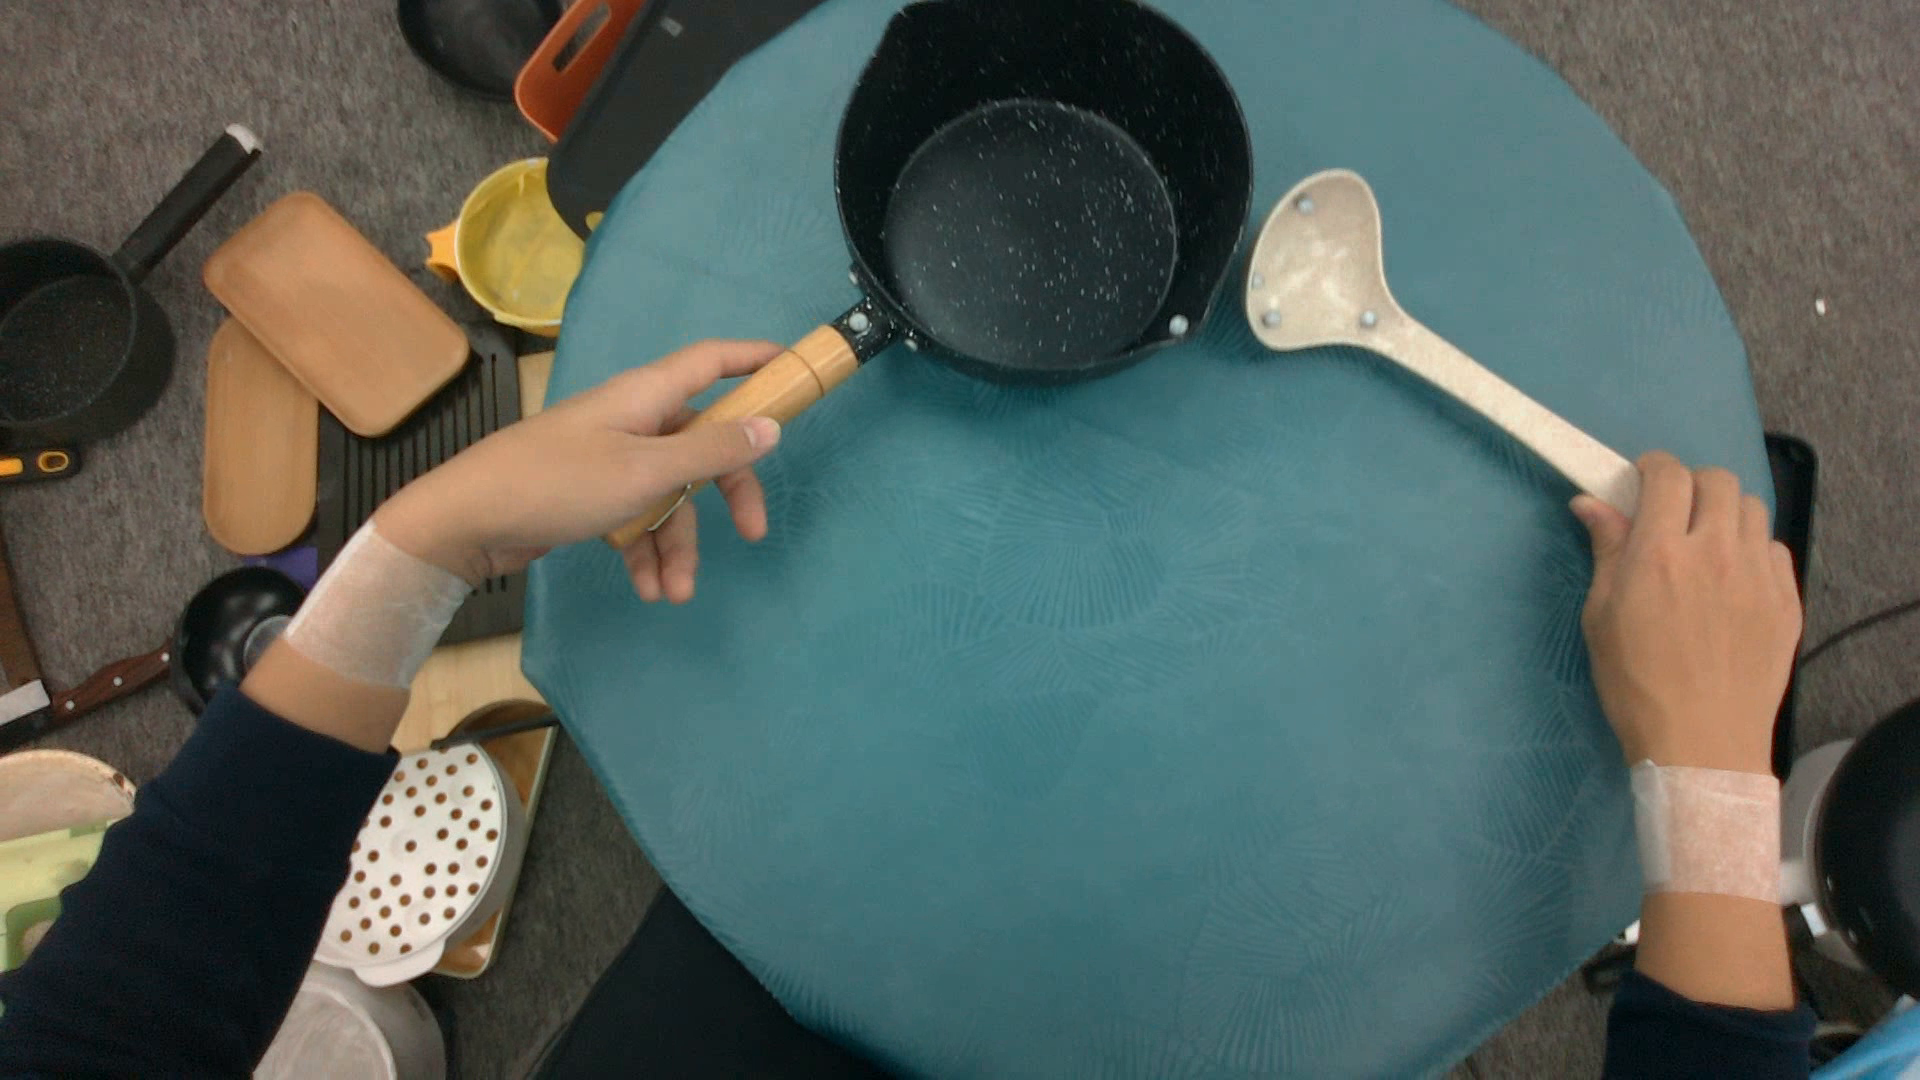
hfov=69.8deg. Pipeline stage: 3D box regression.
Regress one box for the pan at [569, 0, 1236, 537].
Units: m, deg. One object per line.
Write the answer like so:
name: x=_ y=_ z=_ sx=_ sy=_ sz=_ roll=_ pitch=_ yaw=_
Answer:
pan: x=-0.029 y=-0.116 z=0.617 sx=0.207 sy=0.108 sz=0.343 roll=45 pitch=81 yaw=4

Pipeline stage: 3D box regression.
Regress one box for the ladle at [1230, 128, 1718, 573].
ladle: x=0.243 y=-0.084 z=0.628 sx=0.275 sy=0.069 sz=0.089 roll=39 pitch=68 yaw=11
